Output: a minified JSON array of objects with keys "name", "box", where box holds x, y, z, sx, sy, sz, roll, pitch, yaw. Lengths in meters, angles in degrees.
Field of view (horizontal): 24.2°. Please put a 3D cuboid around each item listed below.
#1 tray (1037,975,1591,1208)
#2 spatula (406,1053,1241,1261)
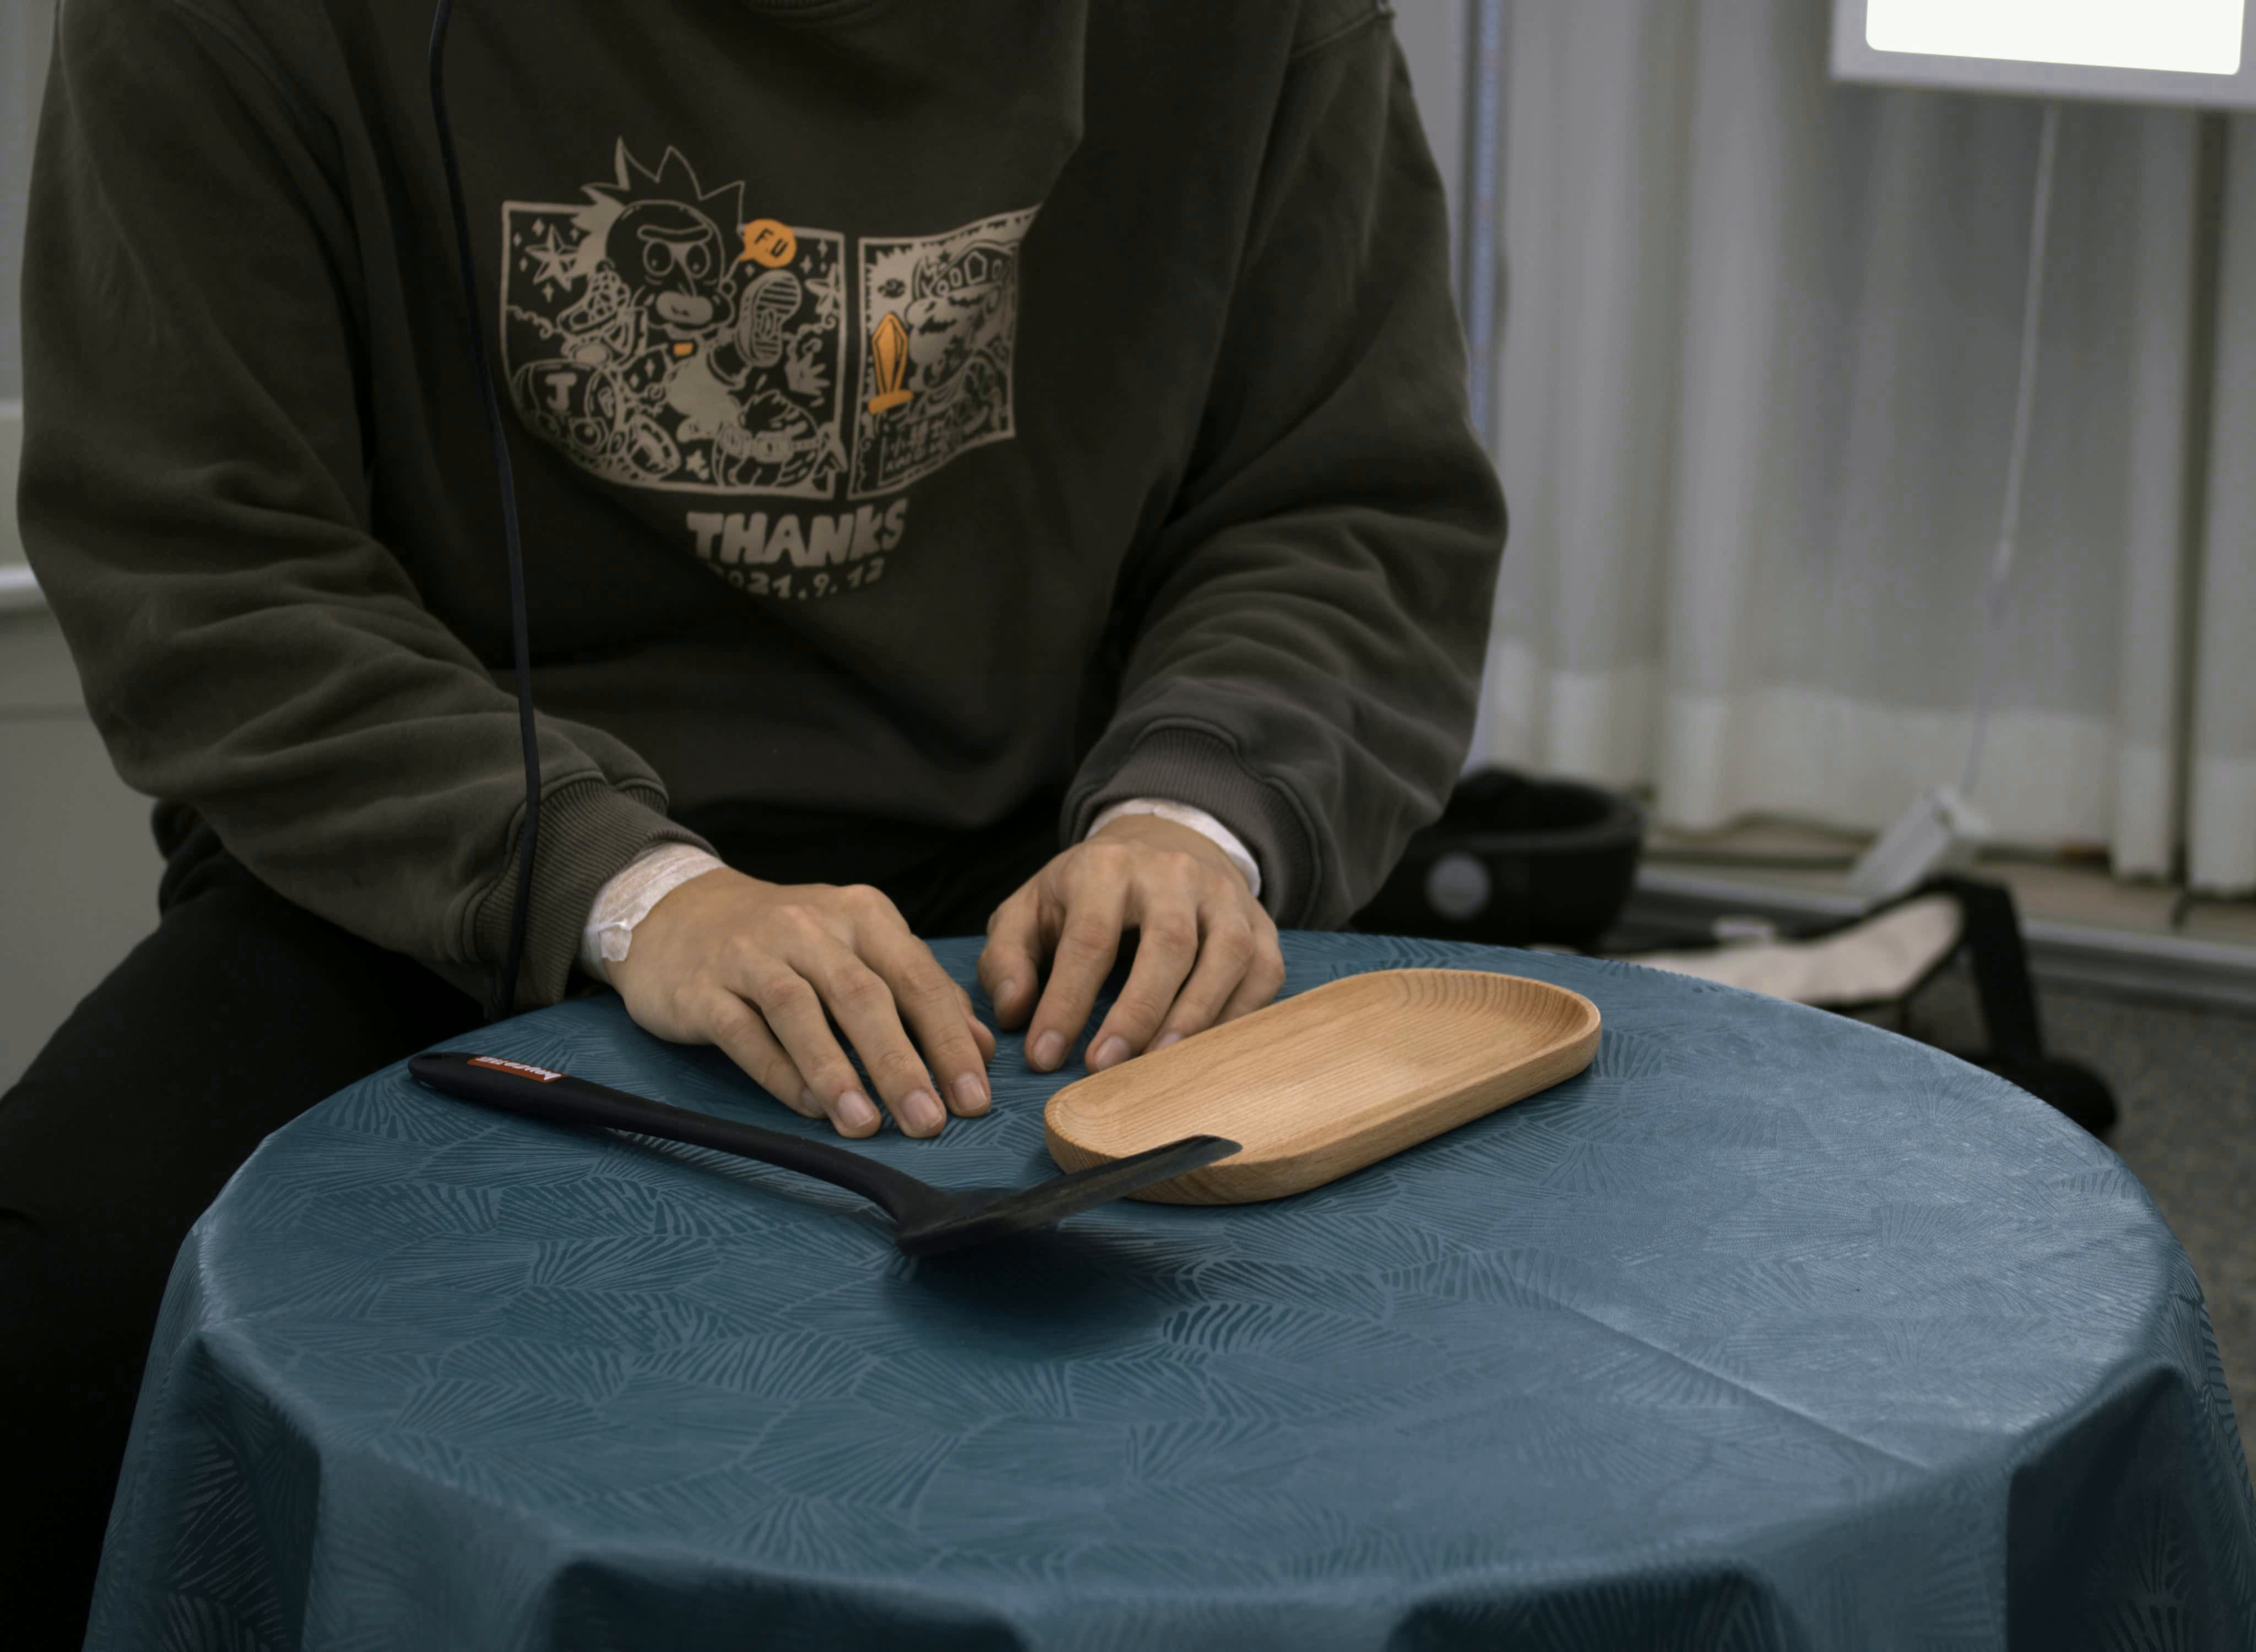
[{"name":"tray","box":[0.063,0.084,1.705,0.100,0.020,0.232,12,20,37]},{"name":"spatula","box":[-0.113,0.093,1.628,0.322,0.040,0.100,13,19,39]}]
